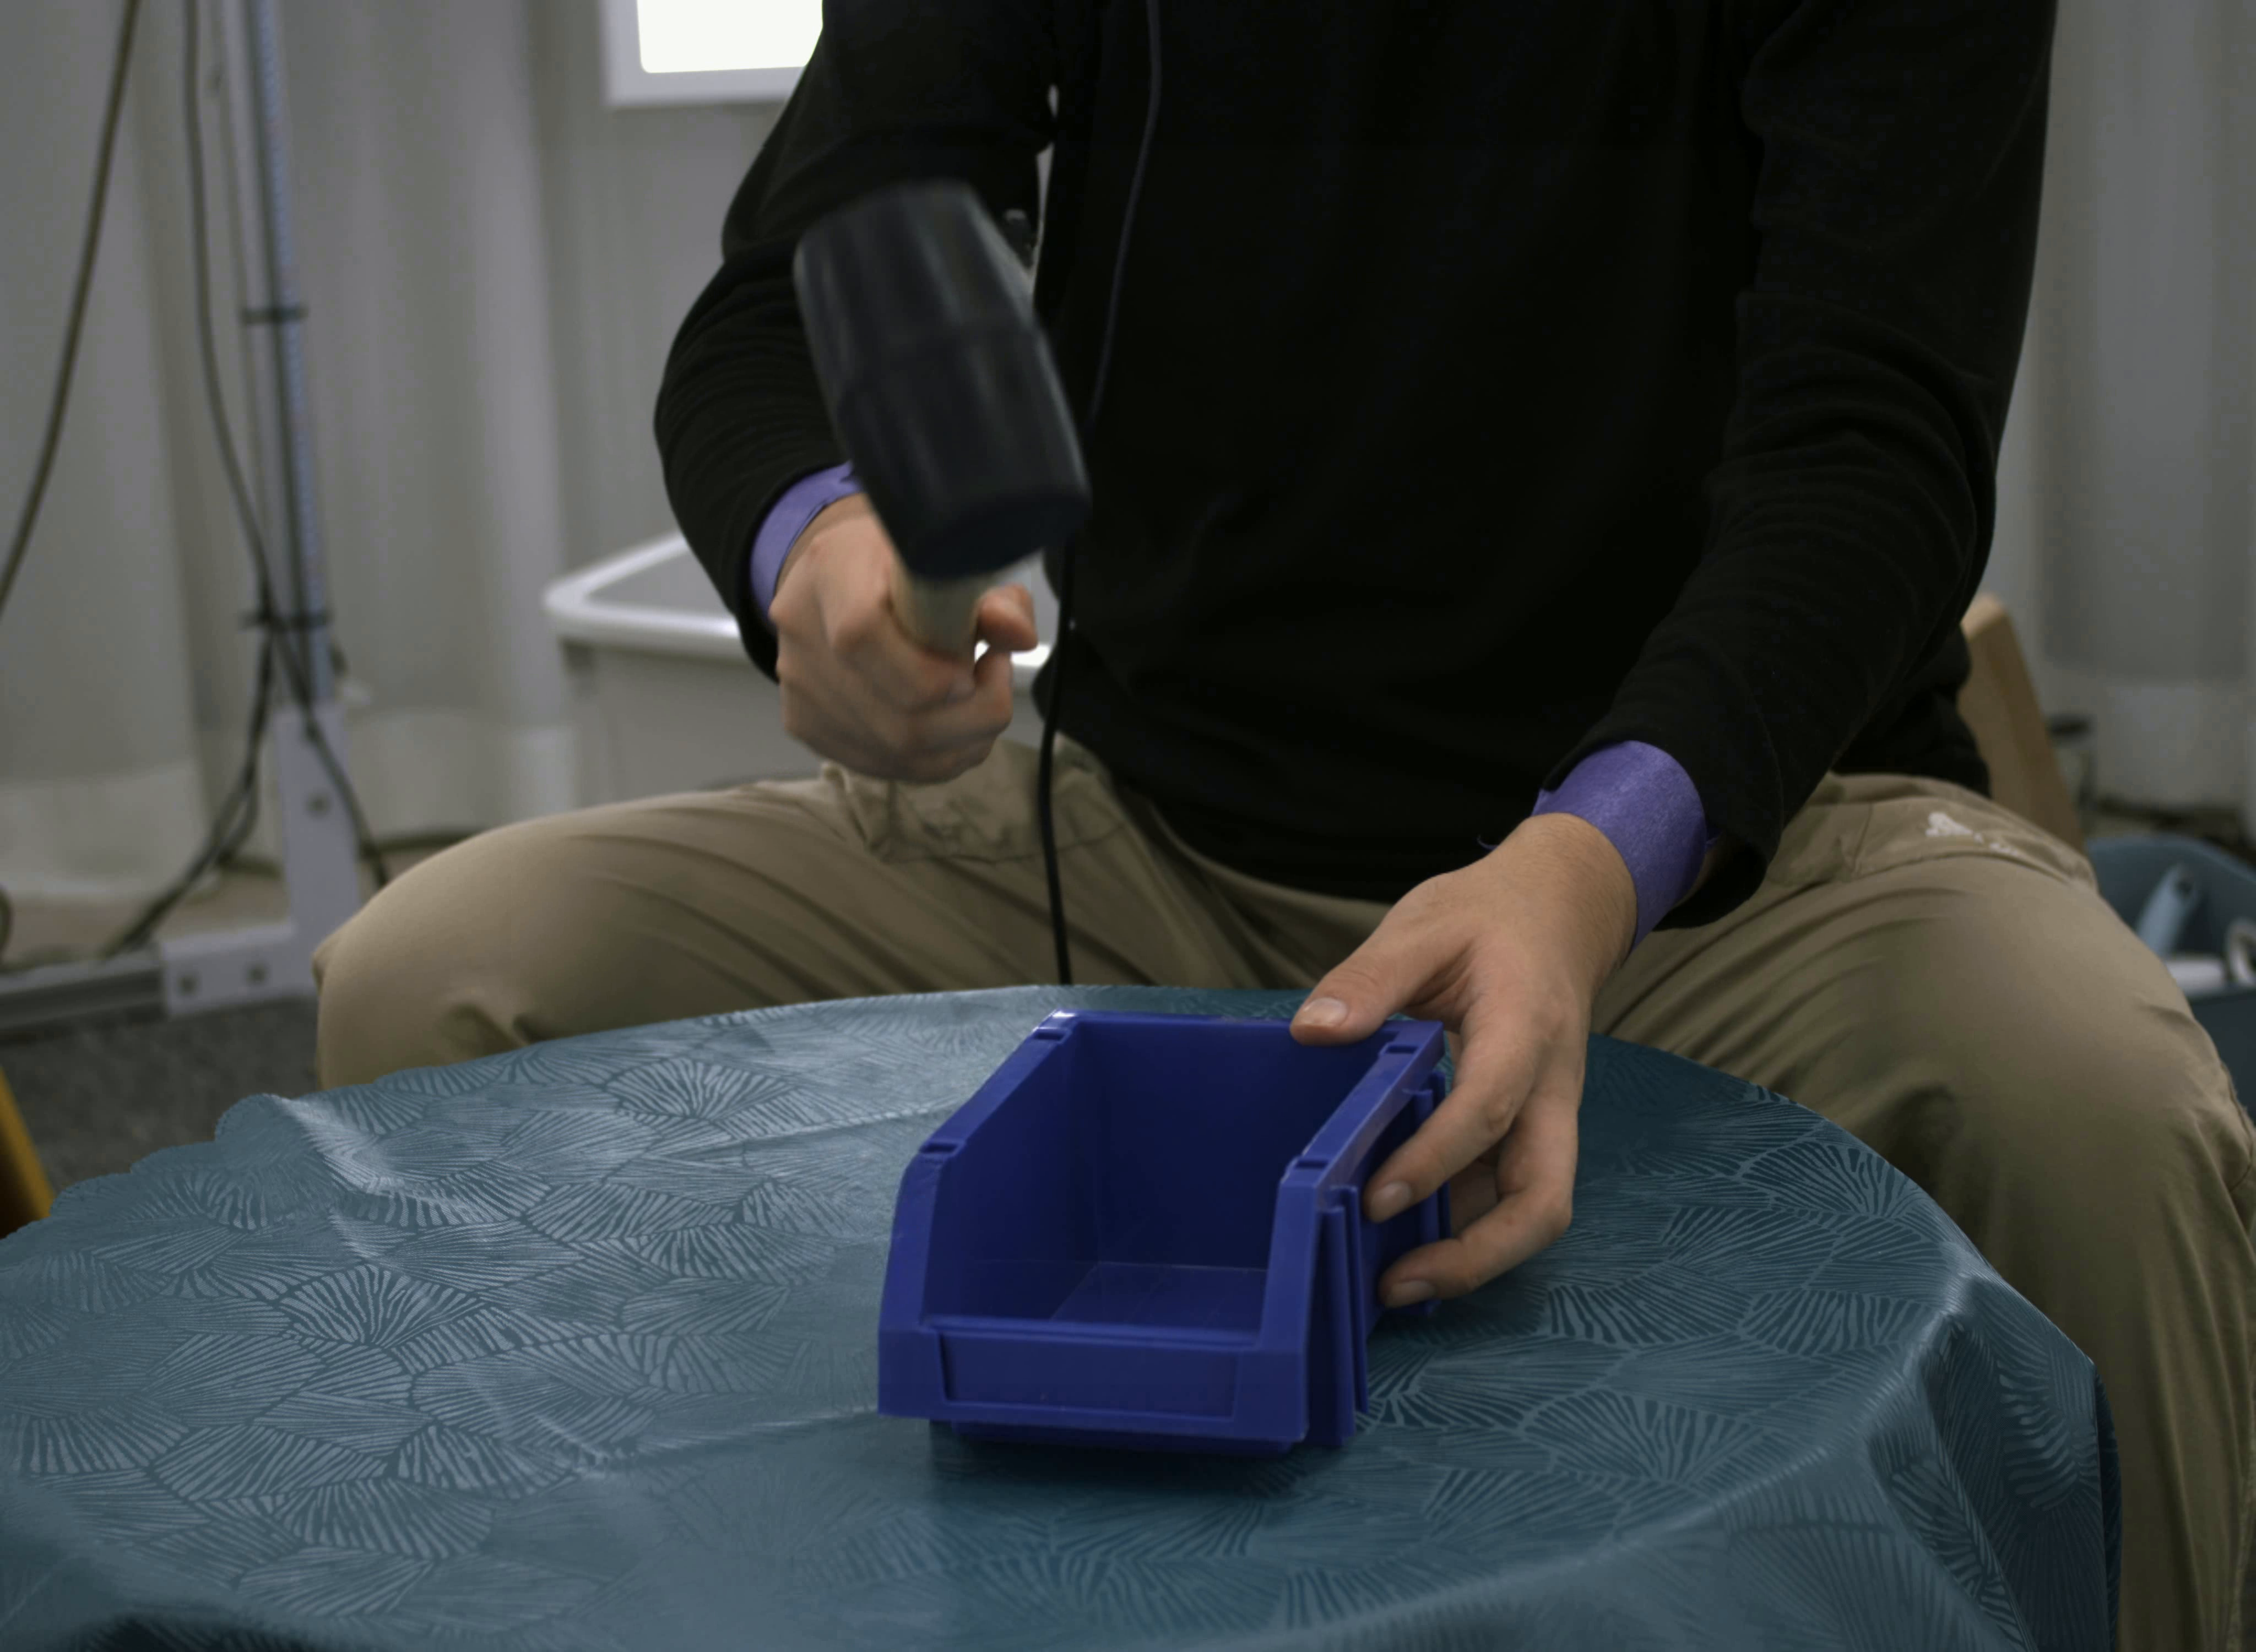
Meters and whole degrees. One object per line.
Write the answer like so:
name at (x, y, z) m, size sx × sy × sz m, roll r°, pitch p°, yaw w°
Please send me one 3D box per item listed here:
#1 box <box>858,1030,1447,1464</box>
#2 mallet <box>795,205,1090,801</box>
box at (0.012, 0.120, 1.535) m, size 0.124 × 0.081 × 0.180 m, roll 2°, pitch 12°, yaw 18°
mallet at (-0.052, -0.077, 1.638) m, size 0.064 × 0.103 × 0.336 m, roll -17°, pitch -16°, yaw -5°
